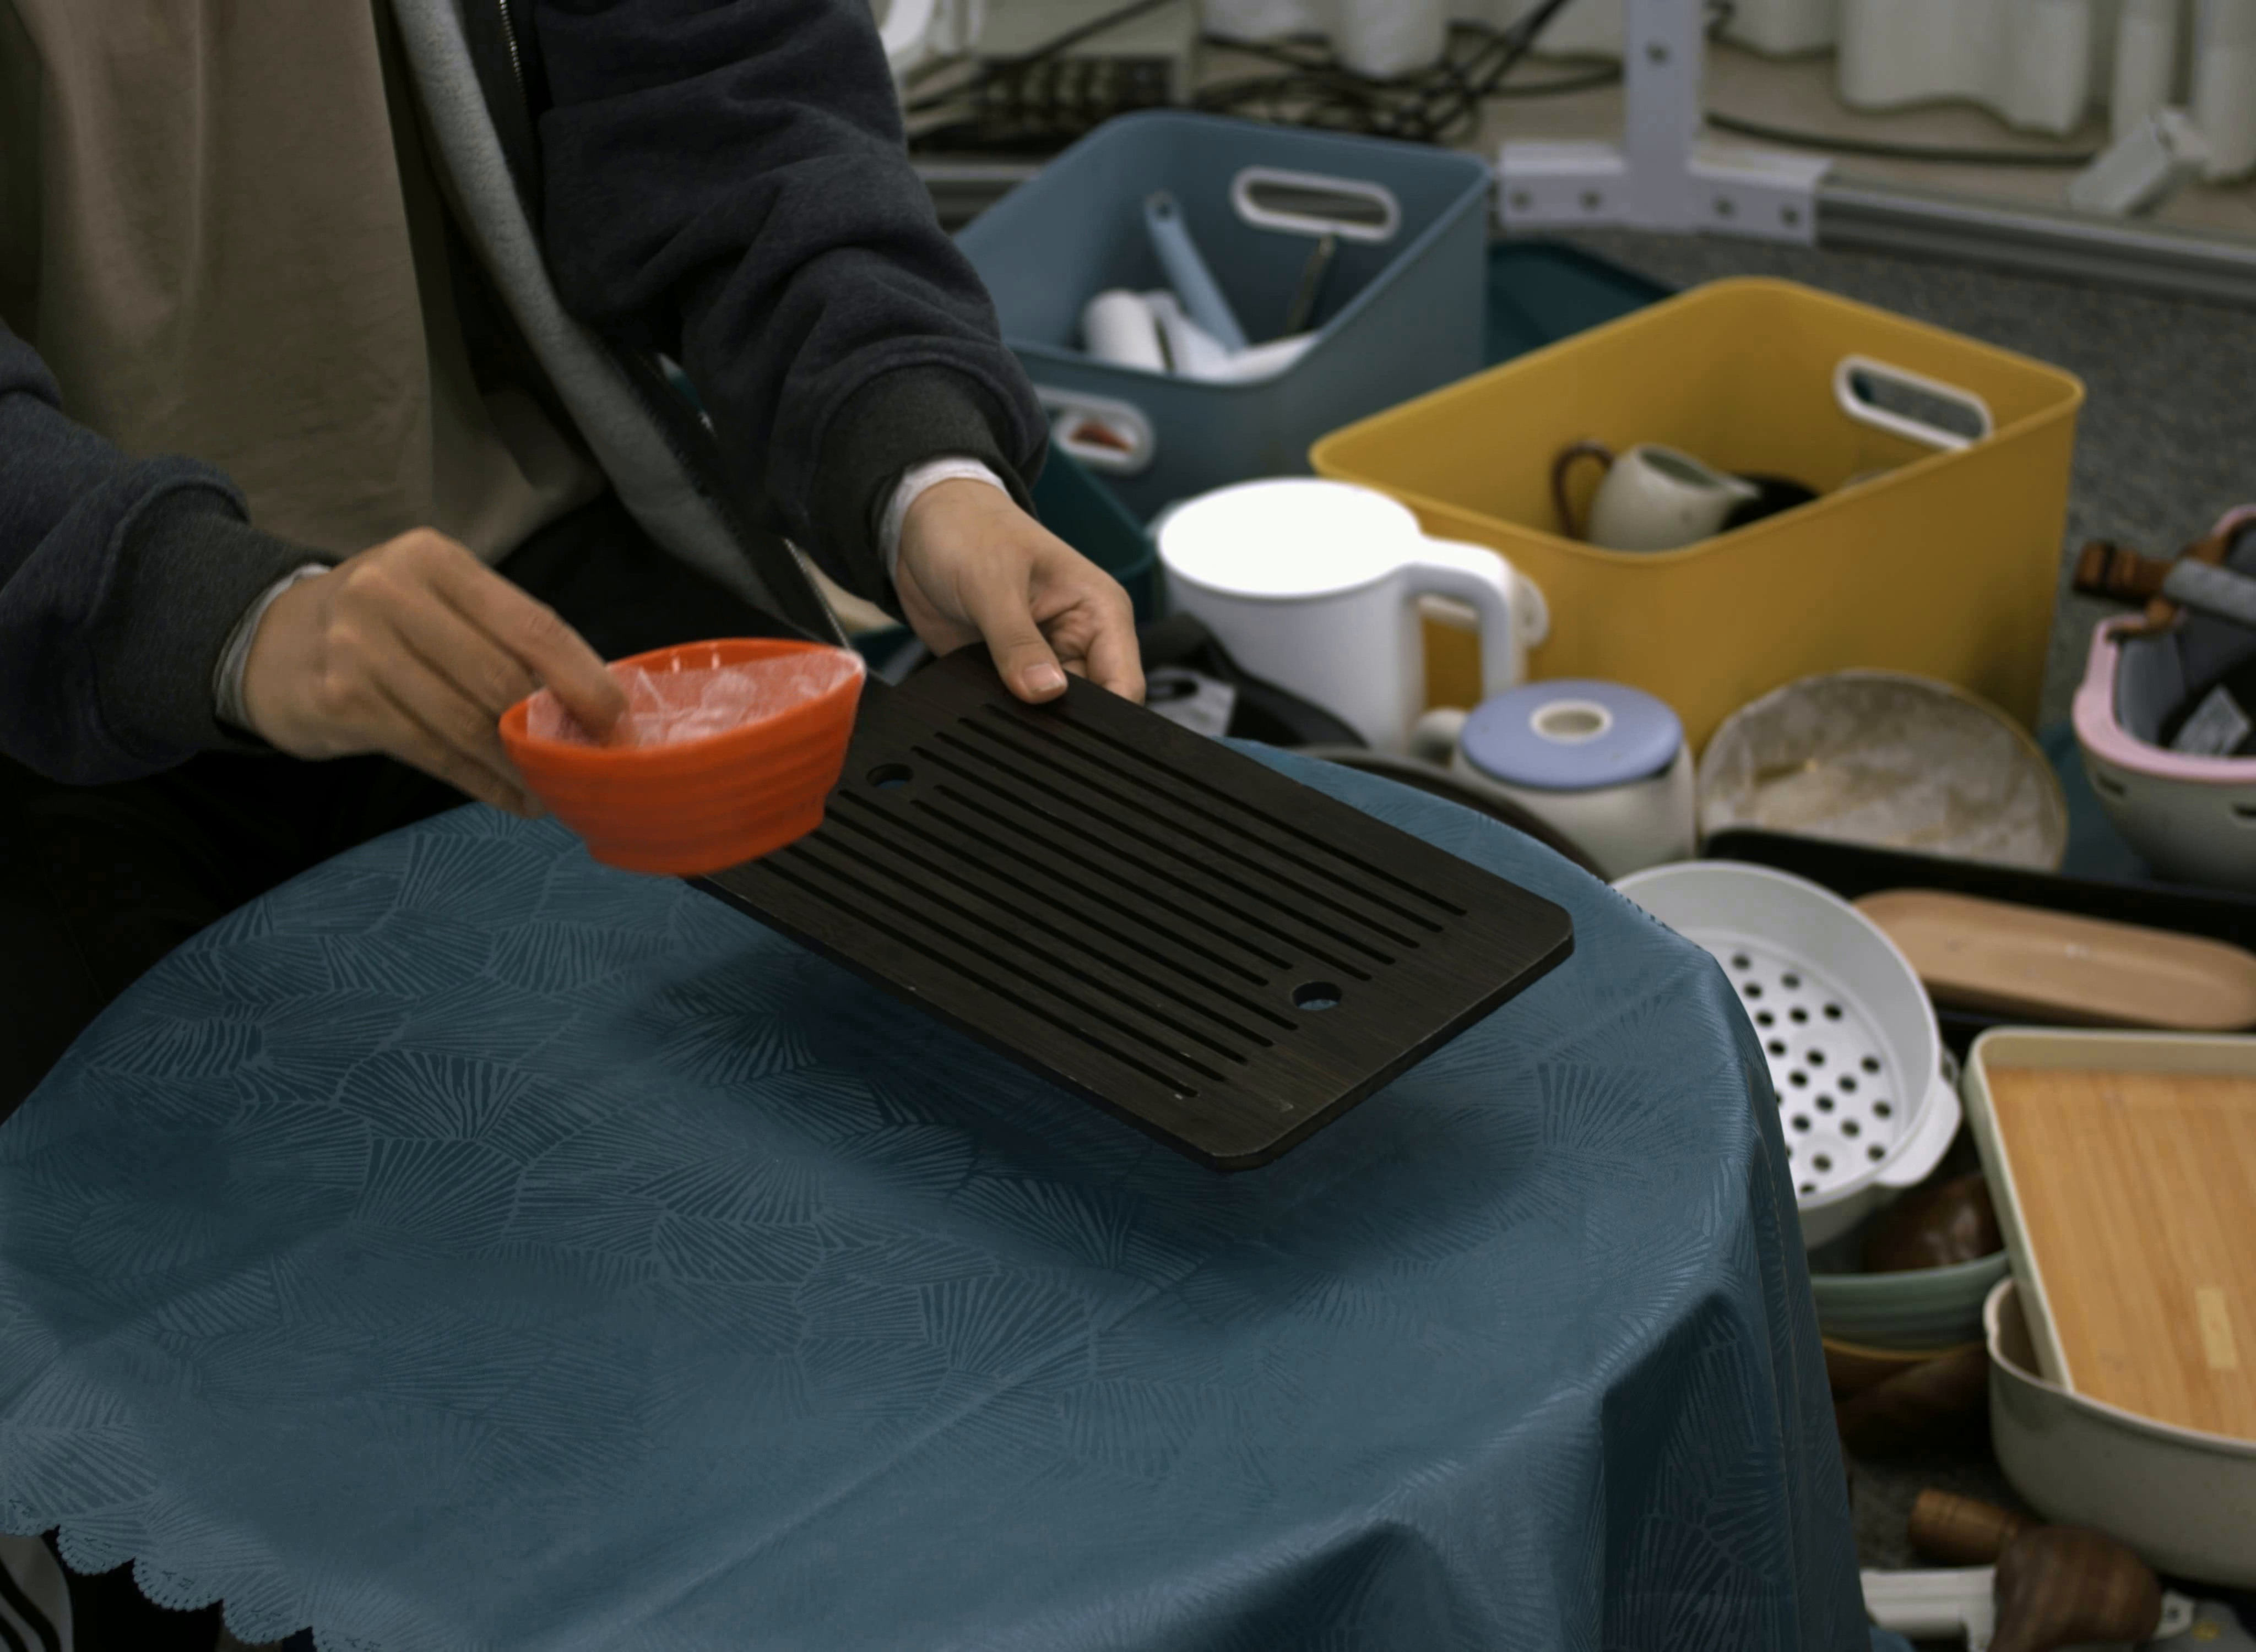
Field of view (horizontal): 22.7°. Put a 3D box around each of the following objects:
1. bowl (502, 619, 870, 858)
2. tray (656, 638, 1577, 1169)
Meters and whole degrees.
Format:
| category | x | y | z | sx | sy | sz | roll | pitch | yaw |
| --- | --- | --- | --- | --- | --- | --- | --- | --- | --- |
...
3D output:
| category | x | y | z | sx | sy | sz | roll | pitch | yaw |
| --- | --- | --- | --- | --- | --- | --- | --- | --- | --- |
| bowl | -0.138 | -0.026 | 1.800 | 0.118 | 0.051 | 0.120 | -7 | 18 | 3 |
| tray | -0.008 | 0.023 | 1.932 | 0.172 | 0.018 | 0.306 | -31 | 40 | -32 |
